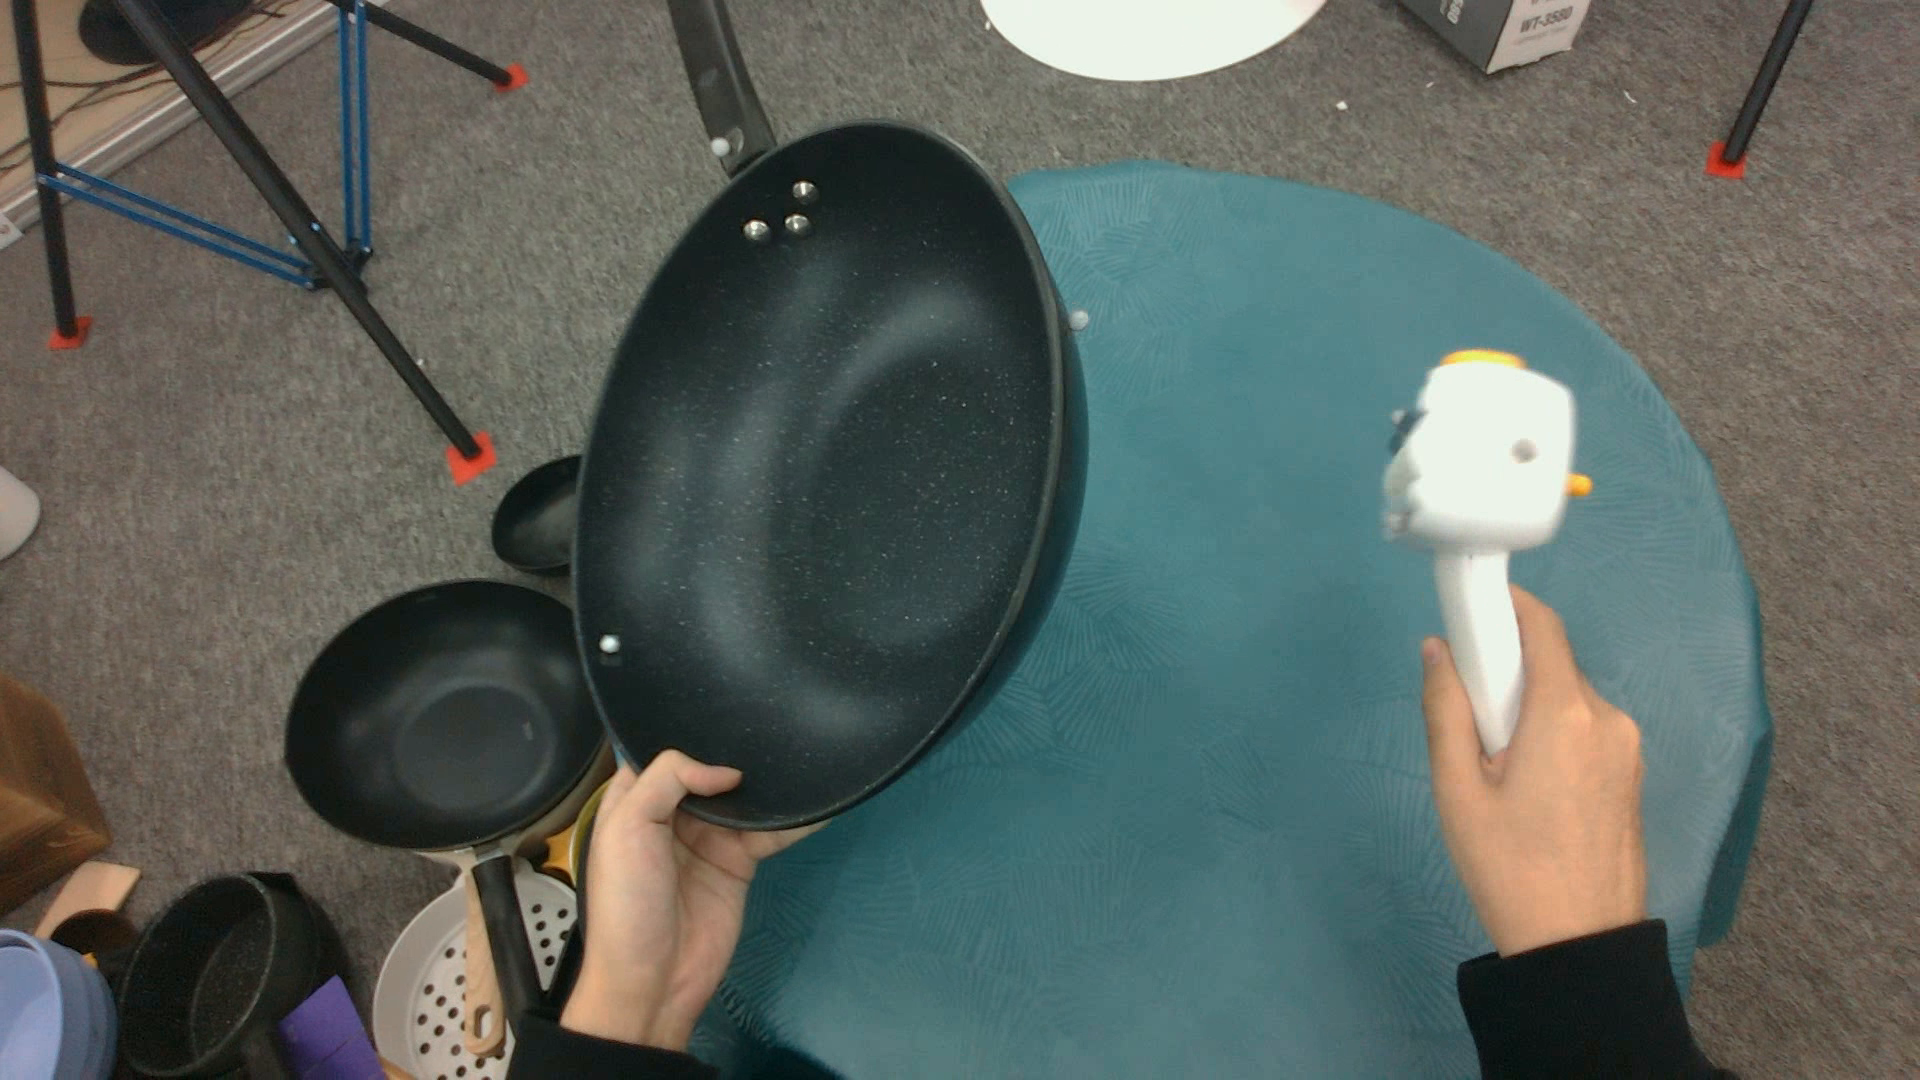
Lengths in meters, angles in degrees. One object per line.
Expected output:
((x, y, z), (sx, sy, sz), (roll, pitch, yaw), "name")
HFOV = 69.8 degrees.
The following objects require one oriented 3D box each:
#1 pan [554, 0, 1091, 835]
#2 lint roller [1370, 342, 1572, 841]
((-0.079, -0.104, 0.641), (0.309, 0.112, 0.478), (-26, 64, 33), "pan")
((0.200, 0.024, 0.548), (0.074, 0.193, 0.192), (0, 92, 10), "lint roller")
